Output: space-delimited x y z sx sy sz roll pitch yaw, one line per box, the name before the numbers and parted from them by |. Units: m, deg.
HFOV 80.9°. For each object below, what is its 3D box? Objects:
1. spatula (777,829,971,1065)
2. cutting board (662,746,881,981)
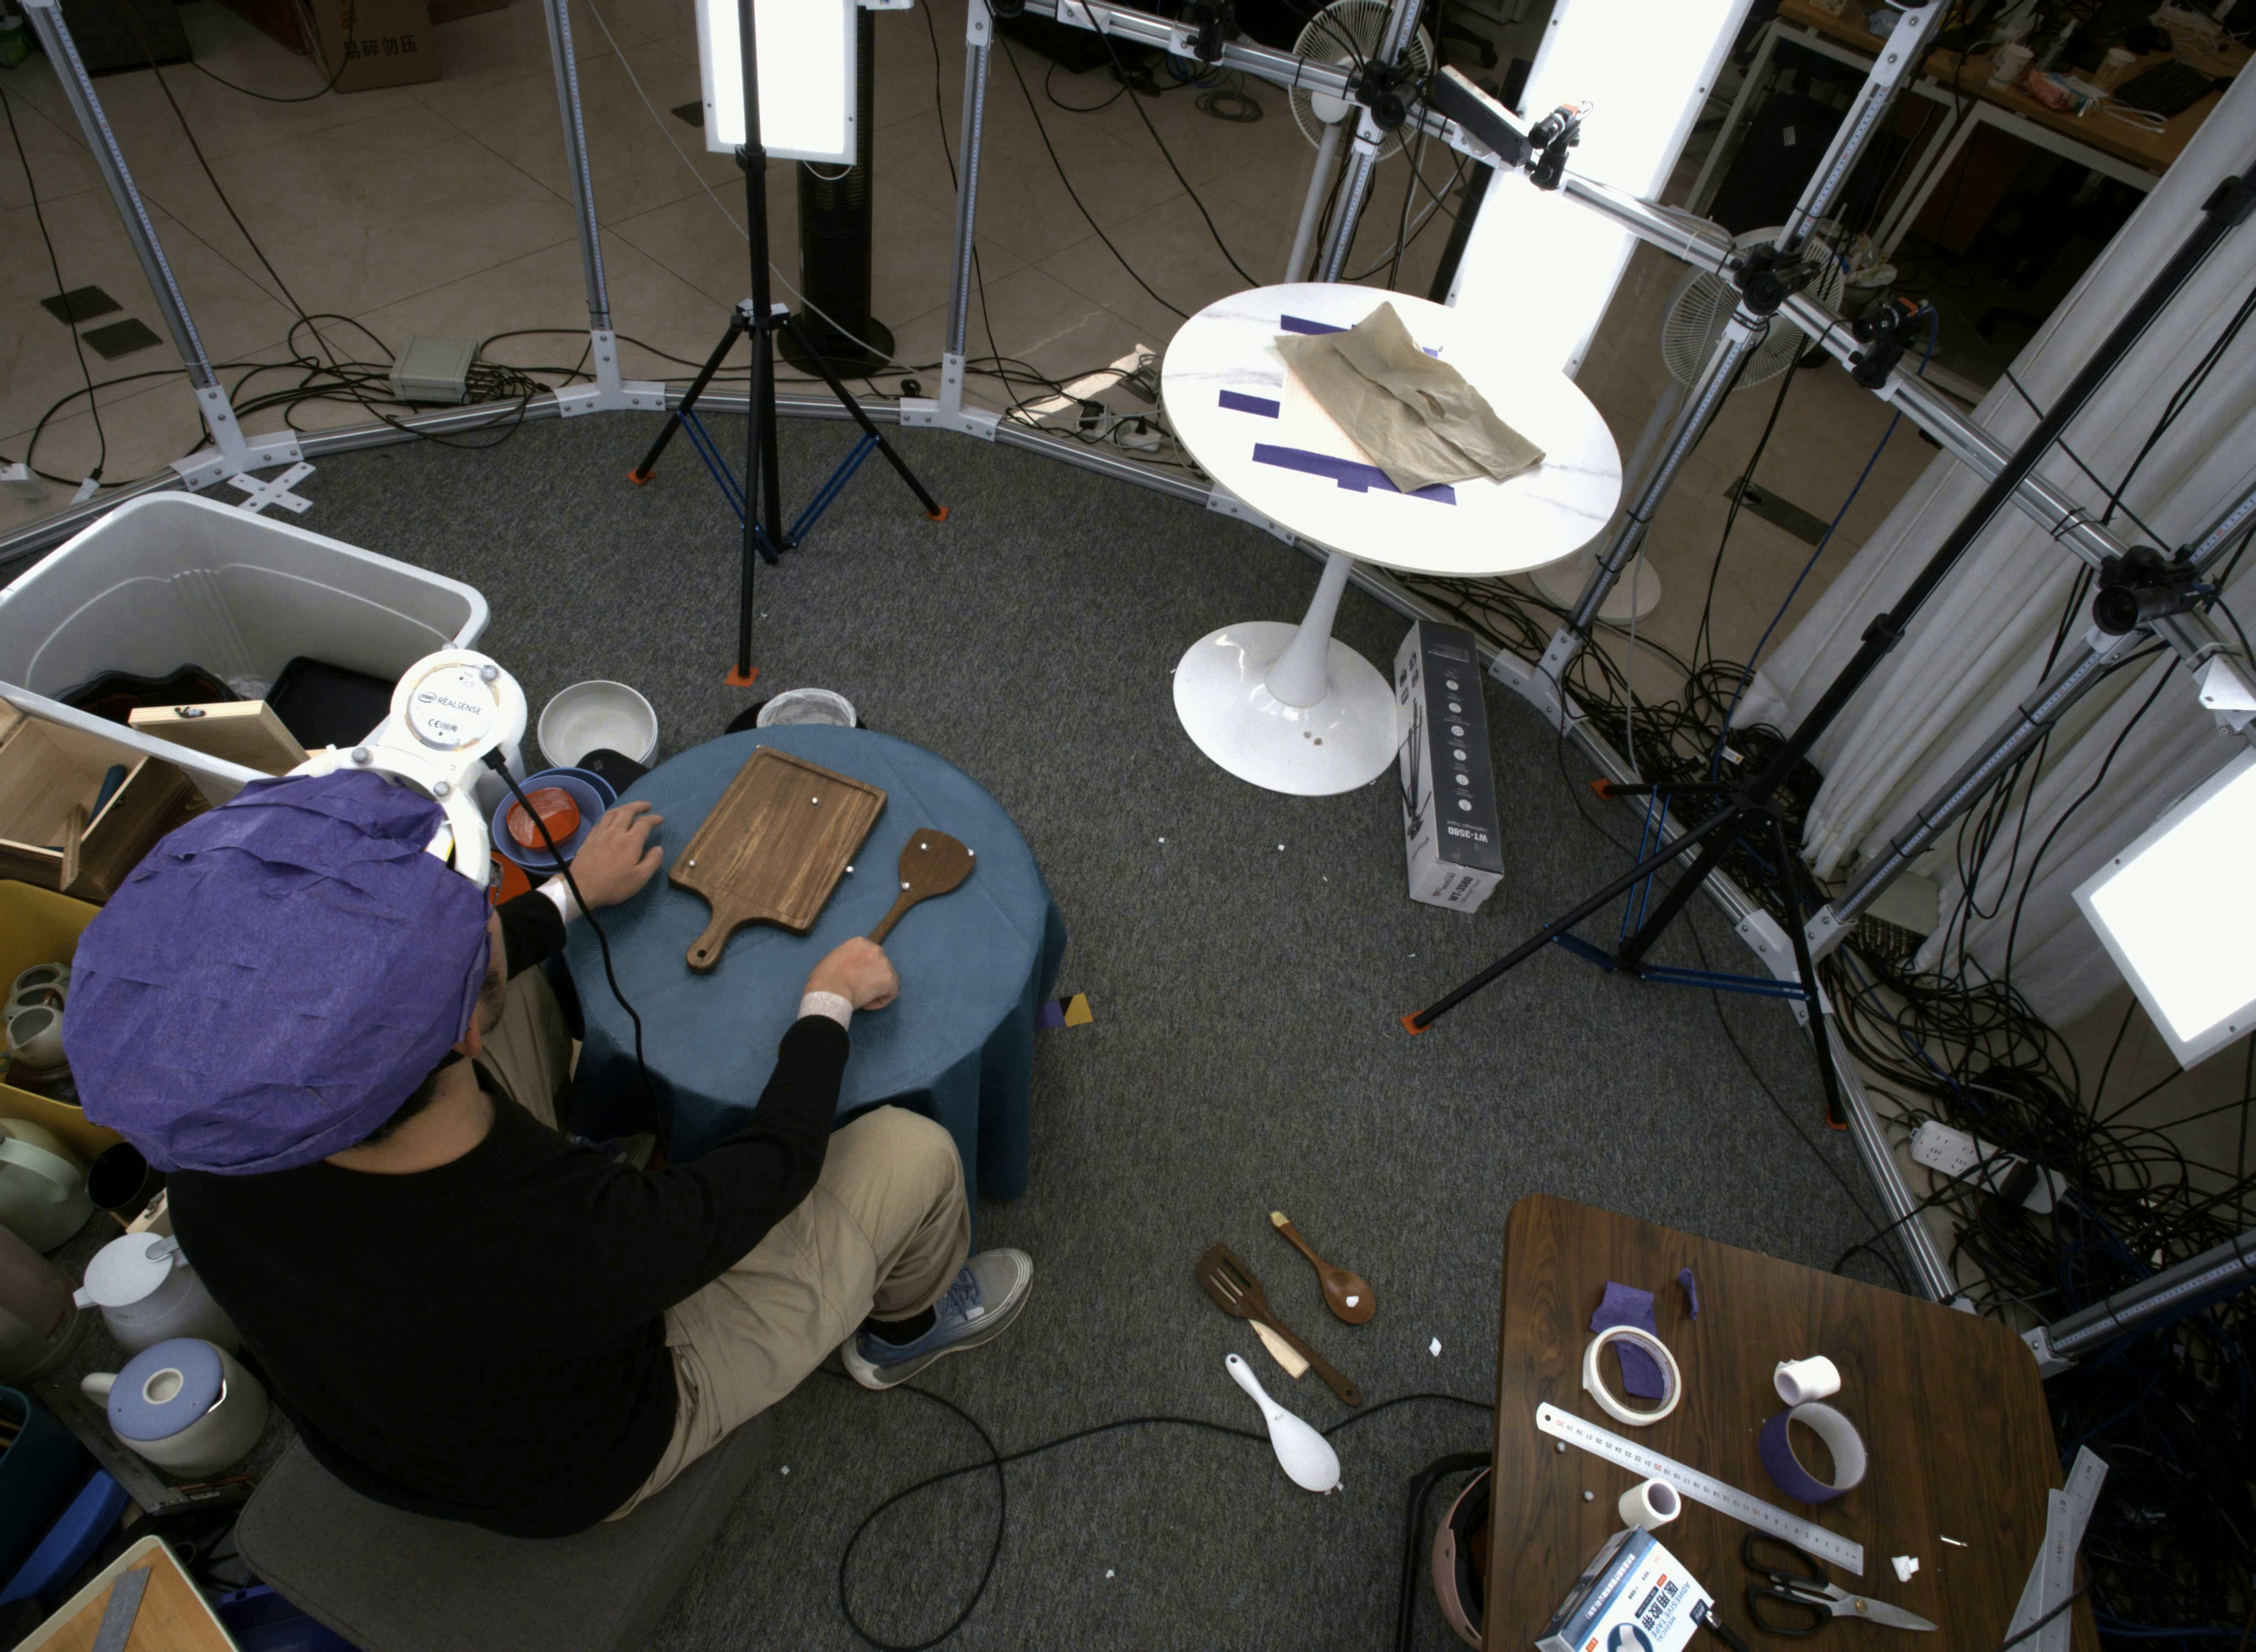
spatula | -0.323 0.144 1.628 0.095 0.016 0.384 27 52 6
cutting board | -0.474 0.049 1.655 0.199 0.023 0.348 21 51 1
